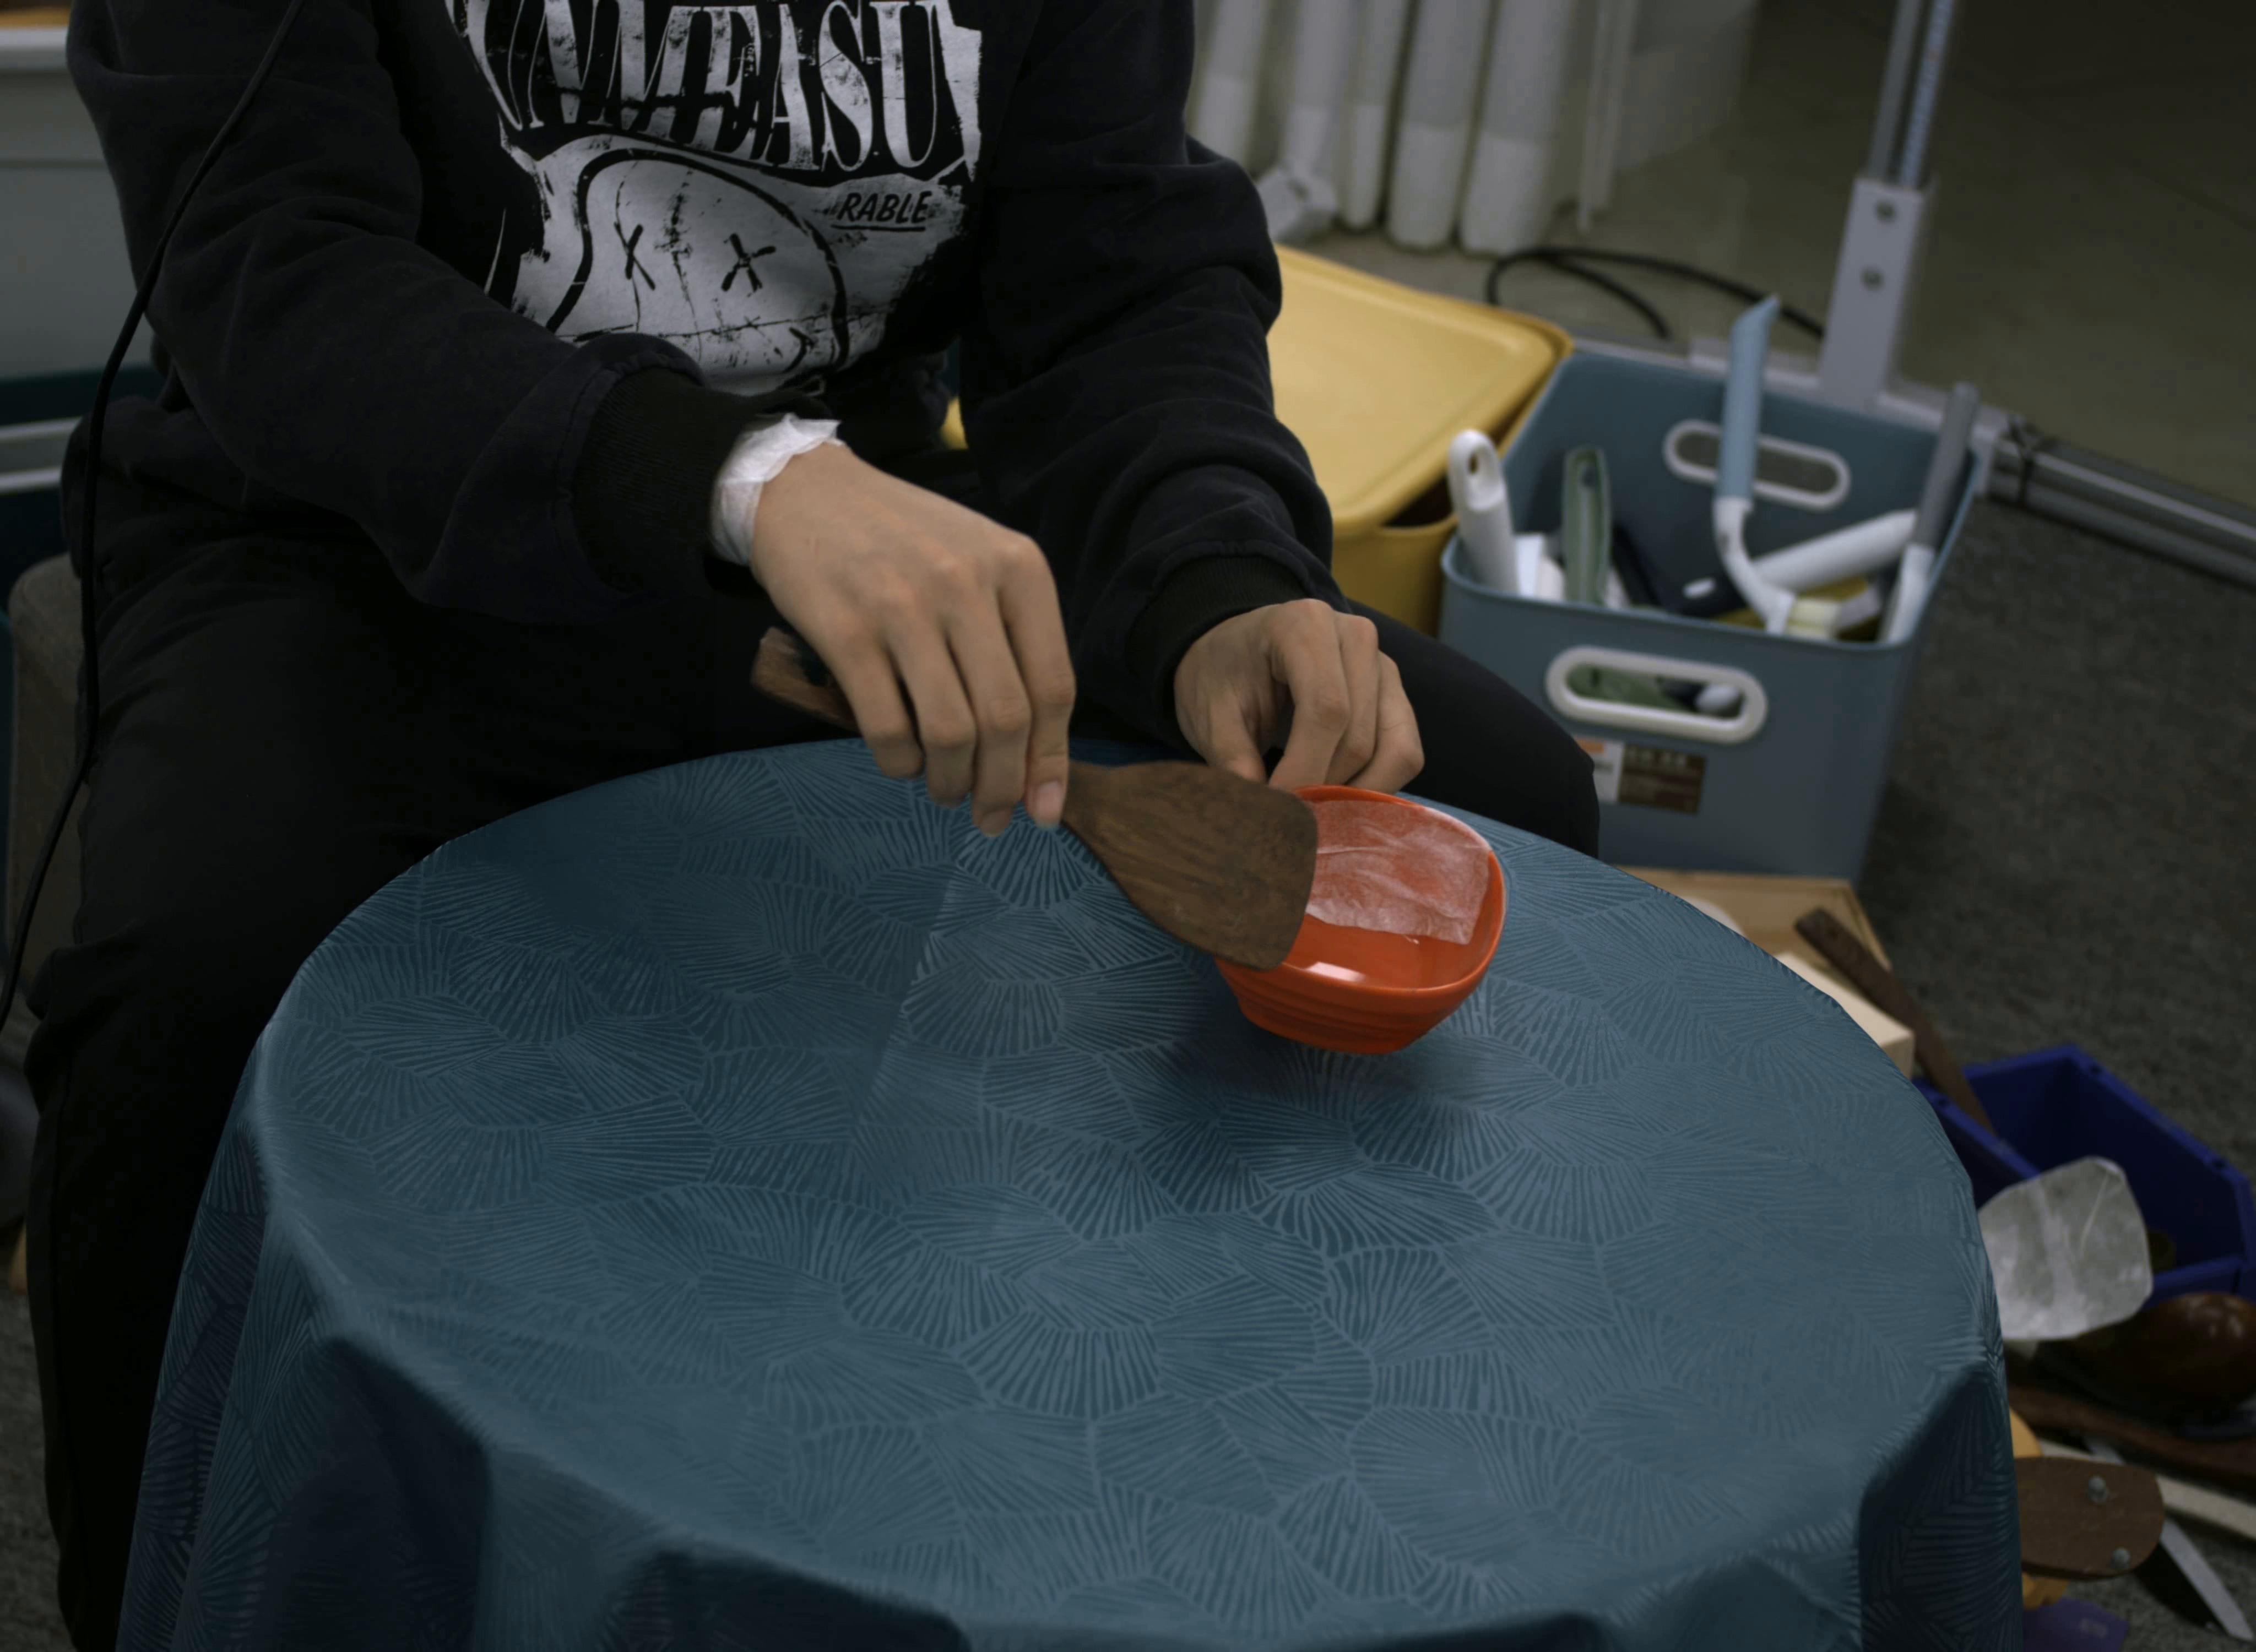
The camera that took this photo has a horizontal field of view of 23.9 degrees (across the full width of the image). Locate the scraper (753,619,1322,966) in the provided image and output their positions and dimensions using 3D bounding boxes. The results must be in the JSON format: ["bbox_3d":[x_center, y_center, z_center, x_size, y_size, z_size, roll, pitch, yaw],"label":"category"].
[{"bbox_3d":[-0.031,-0.019,1.819,0.210,0.011,0.076,24,56,-12],"label":"scraper"}]

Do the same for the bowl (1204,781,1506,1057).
[{"bbox_3d":[0.076,0.040,1.901,0.118,0.051,0.120,7,41,-7],"label":"bowl"}]
